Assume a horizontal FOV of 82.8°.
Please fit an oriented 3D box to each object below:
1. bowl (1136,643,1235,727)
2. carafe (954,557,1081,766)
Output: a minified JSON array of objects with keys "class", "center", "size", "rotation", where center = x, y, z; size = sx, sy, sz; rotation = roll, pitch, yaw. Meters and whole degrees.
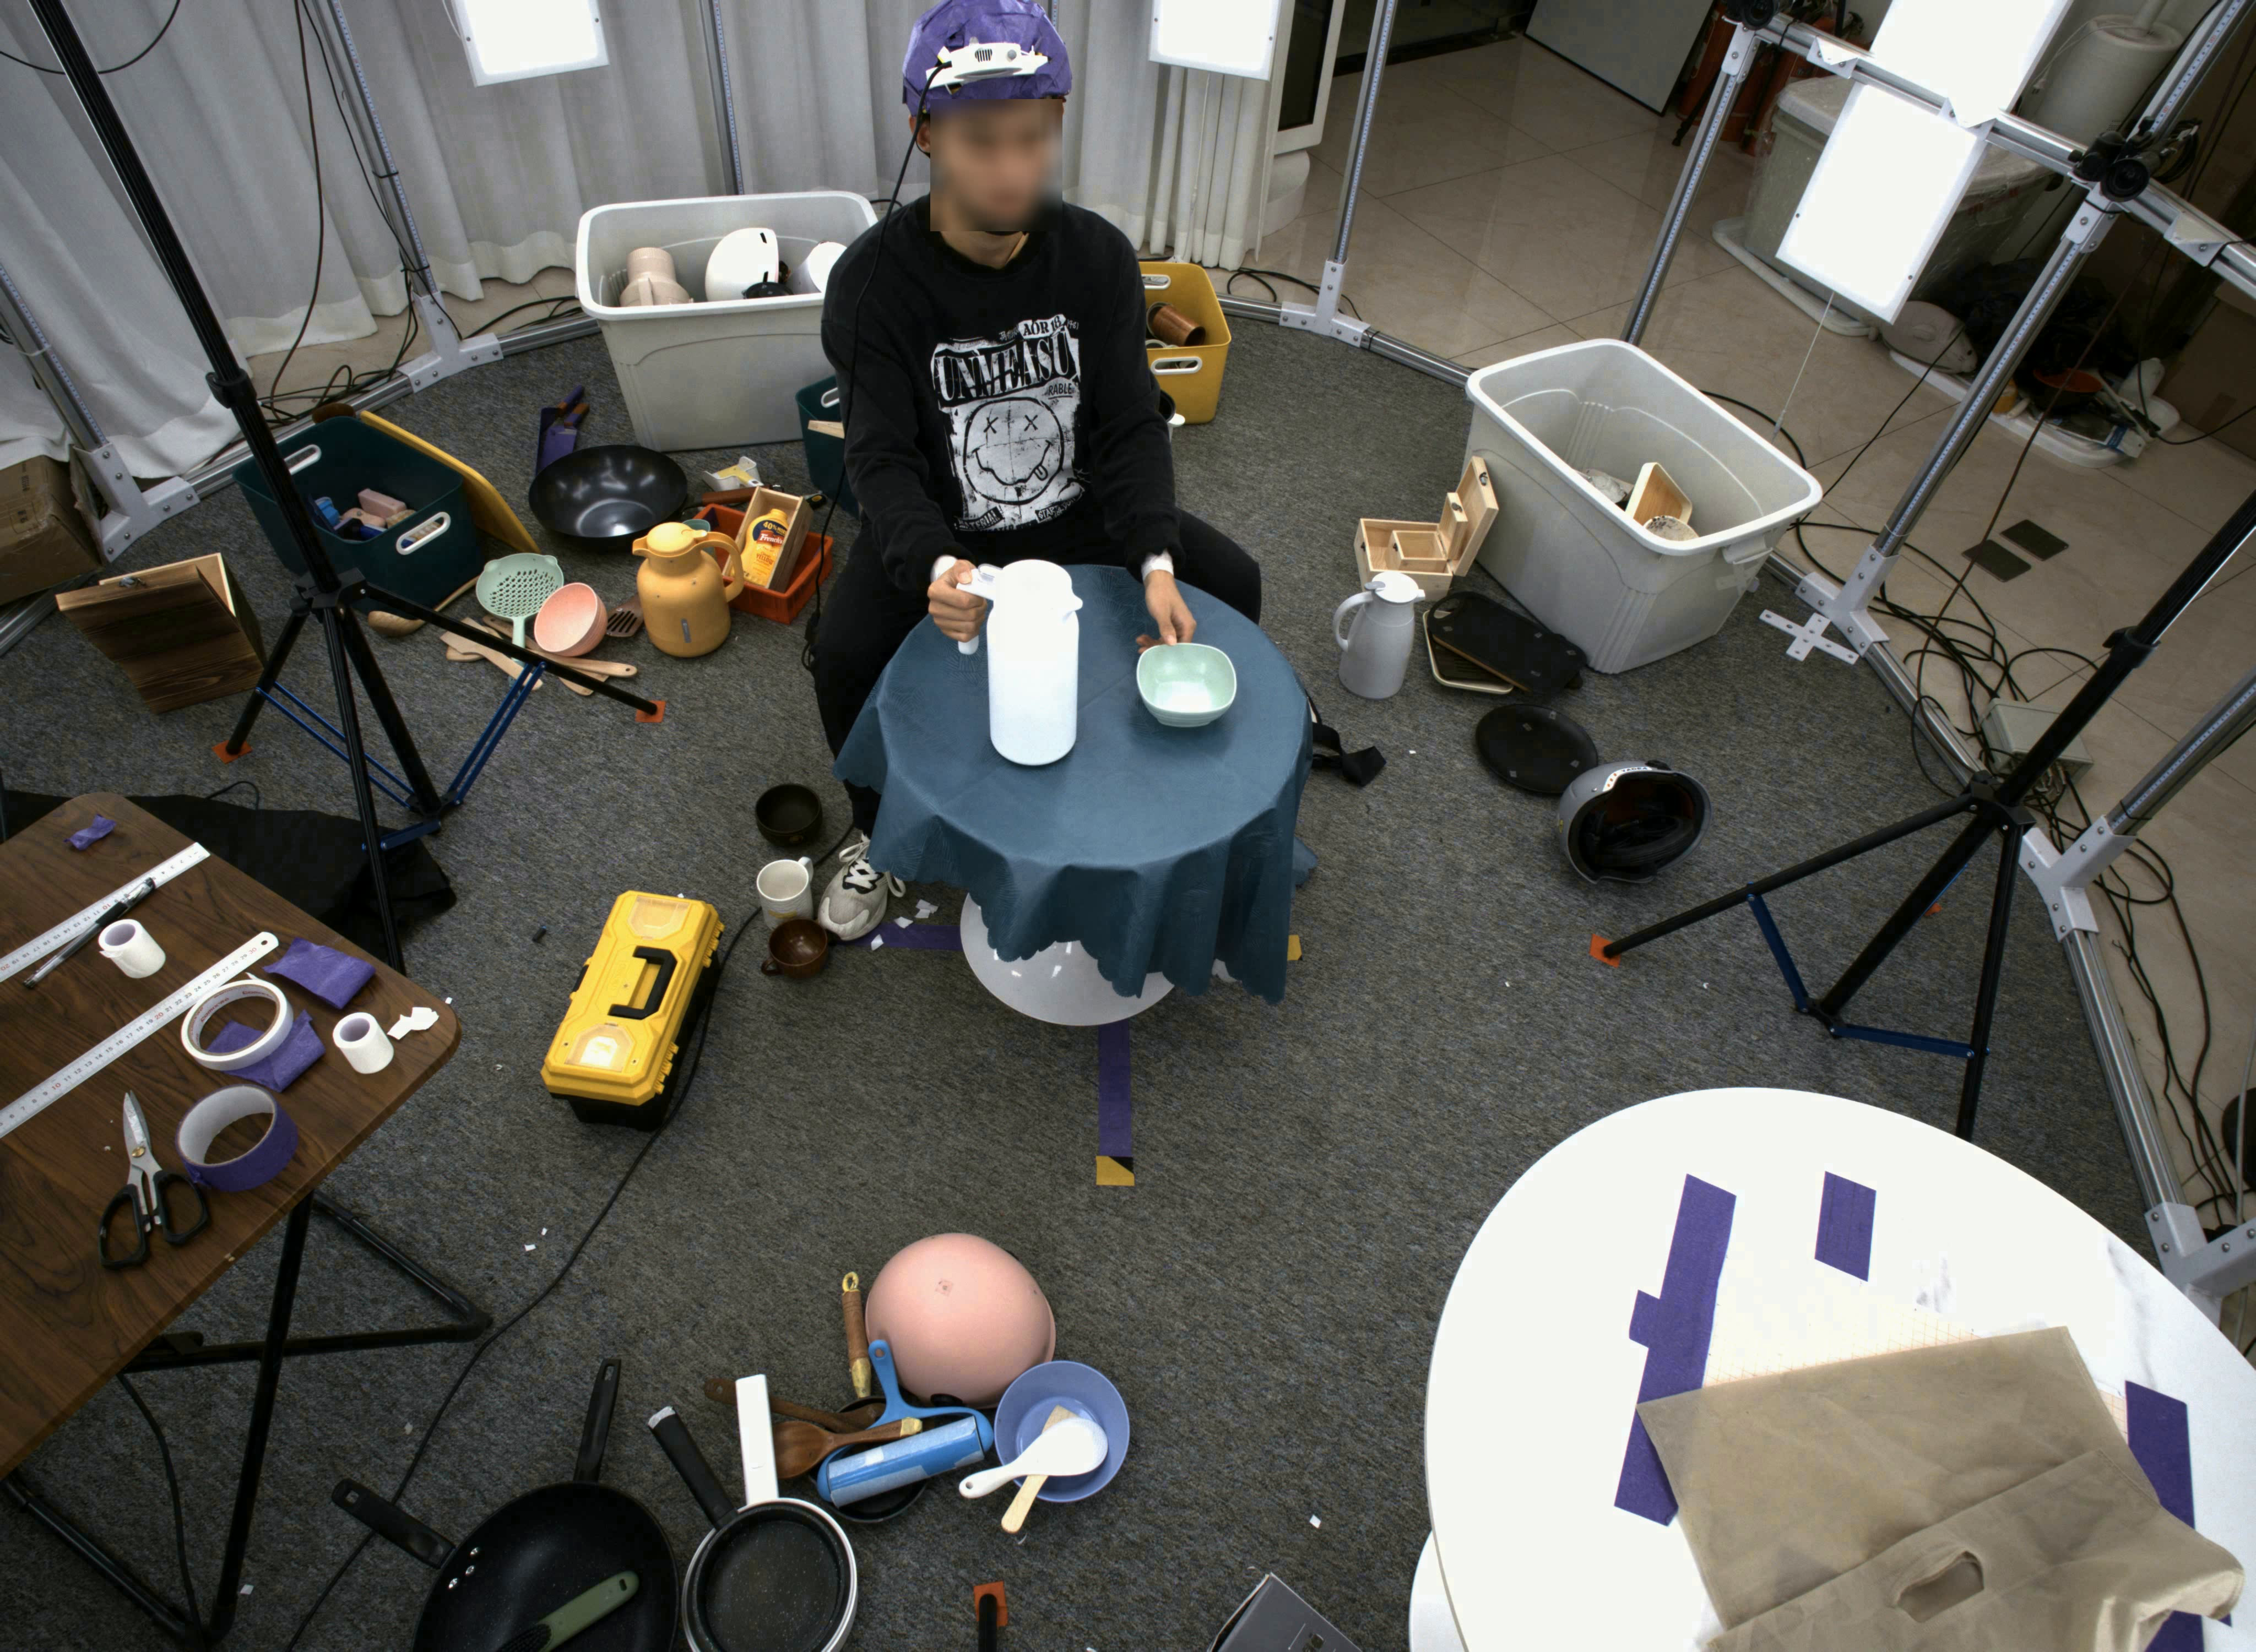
[{"class":"bowl","center":[0.078,-0.189,1.803],"size":[0.151,0.057,0.155],"rotation":[2,49,-3]},{"class":"carafe","center":[-0.142,-0.214,1.672],"size":[0.174,0.262,0.126],"rotation":[19,50,15]}]
